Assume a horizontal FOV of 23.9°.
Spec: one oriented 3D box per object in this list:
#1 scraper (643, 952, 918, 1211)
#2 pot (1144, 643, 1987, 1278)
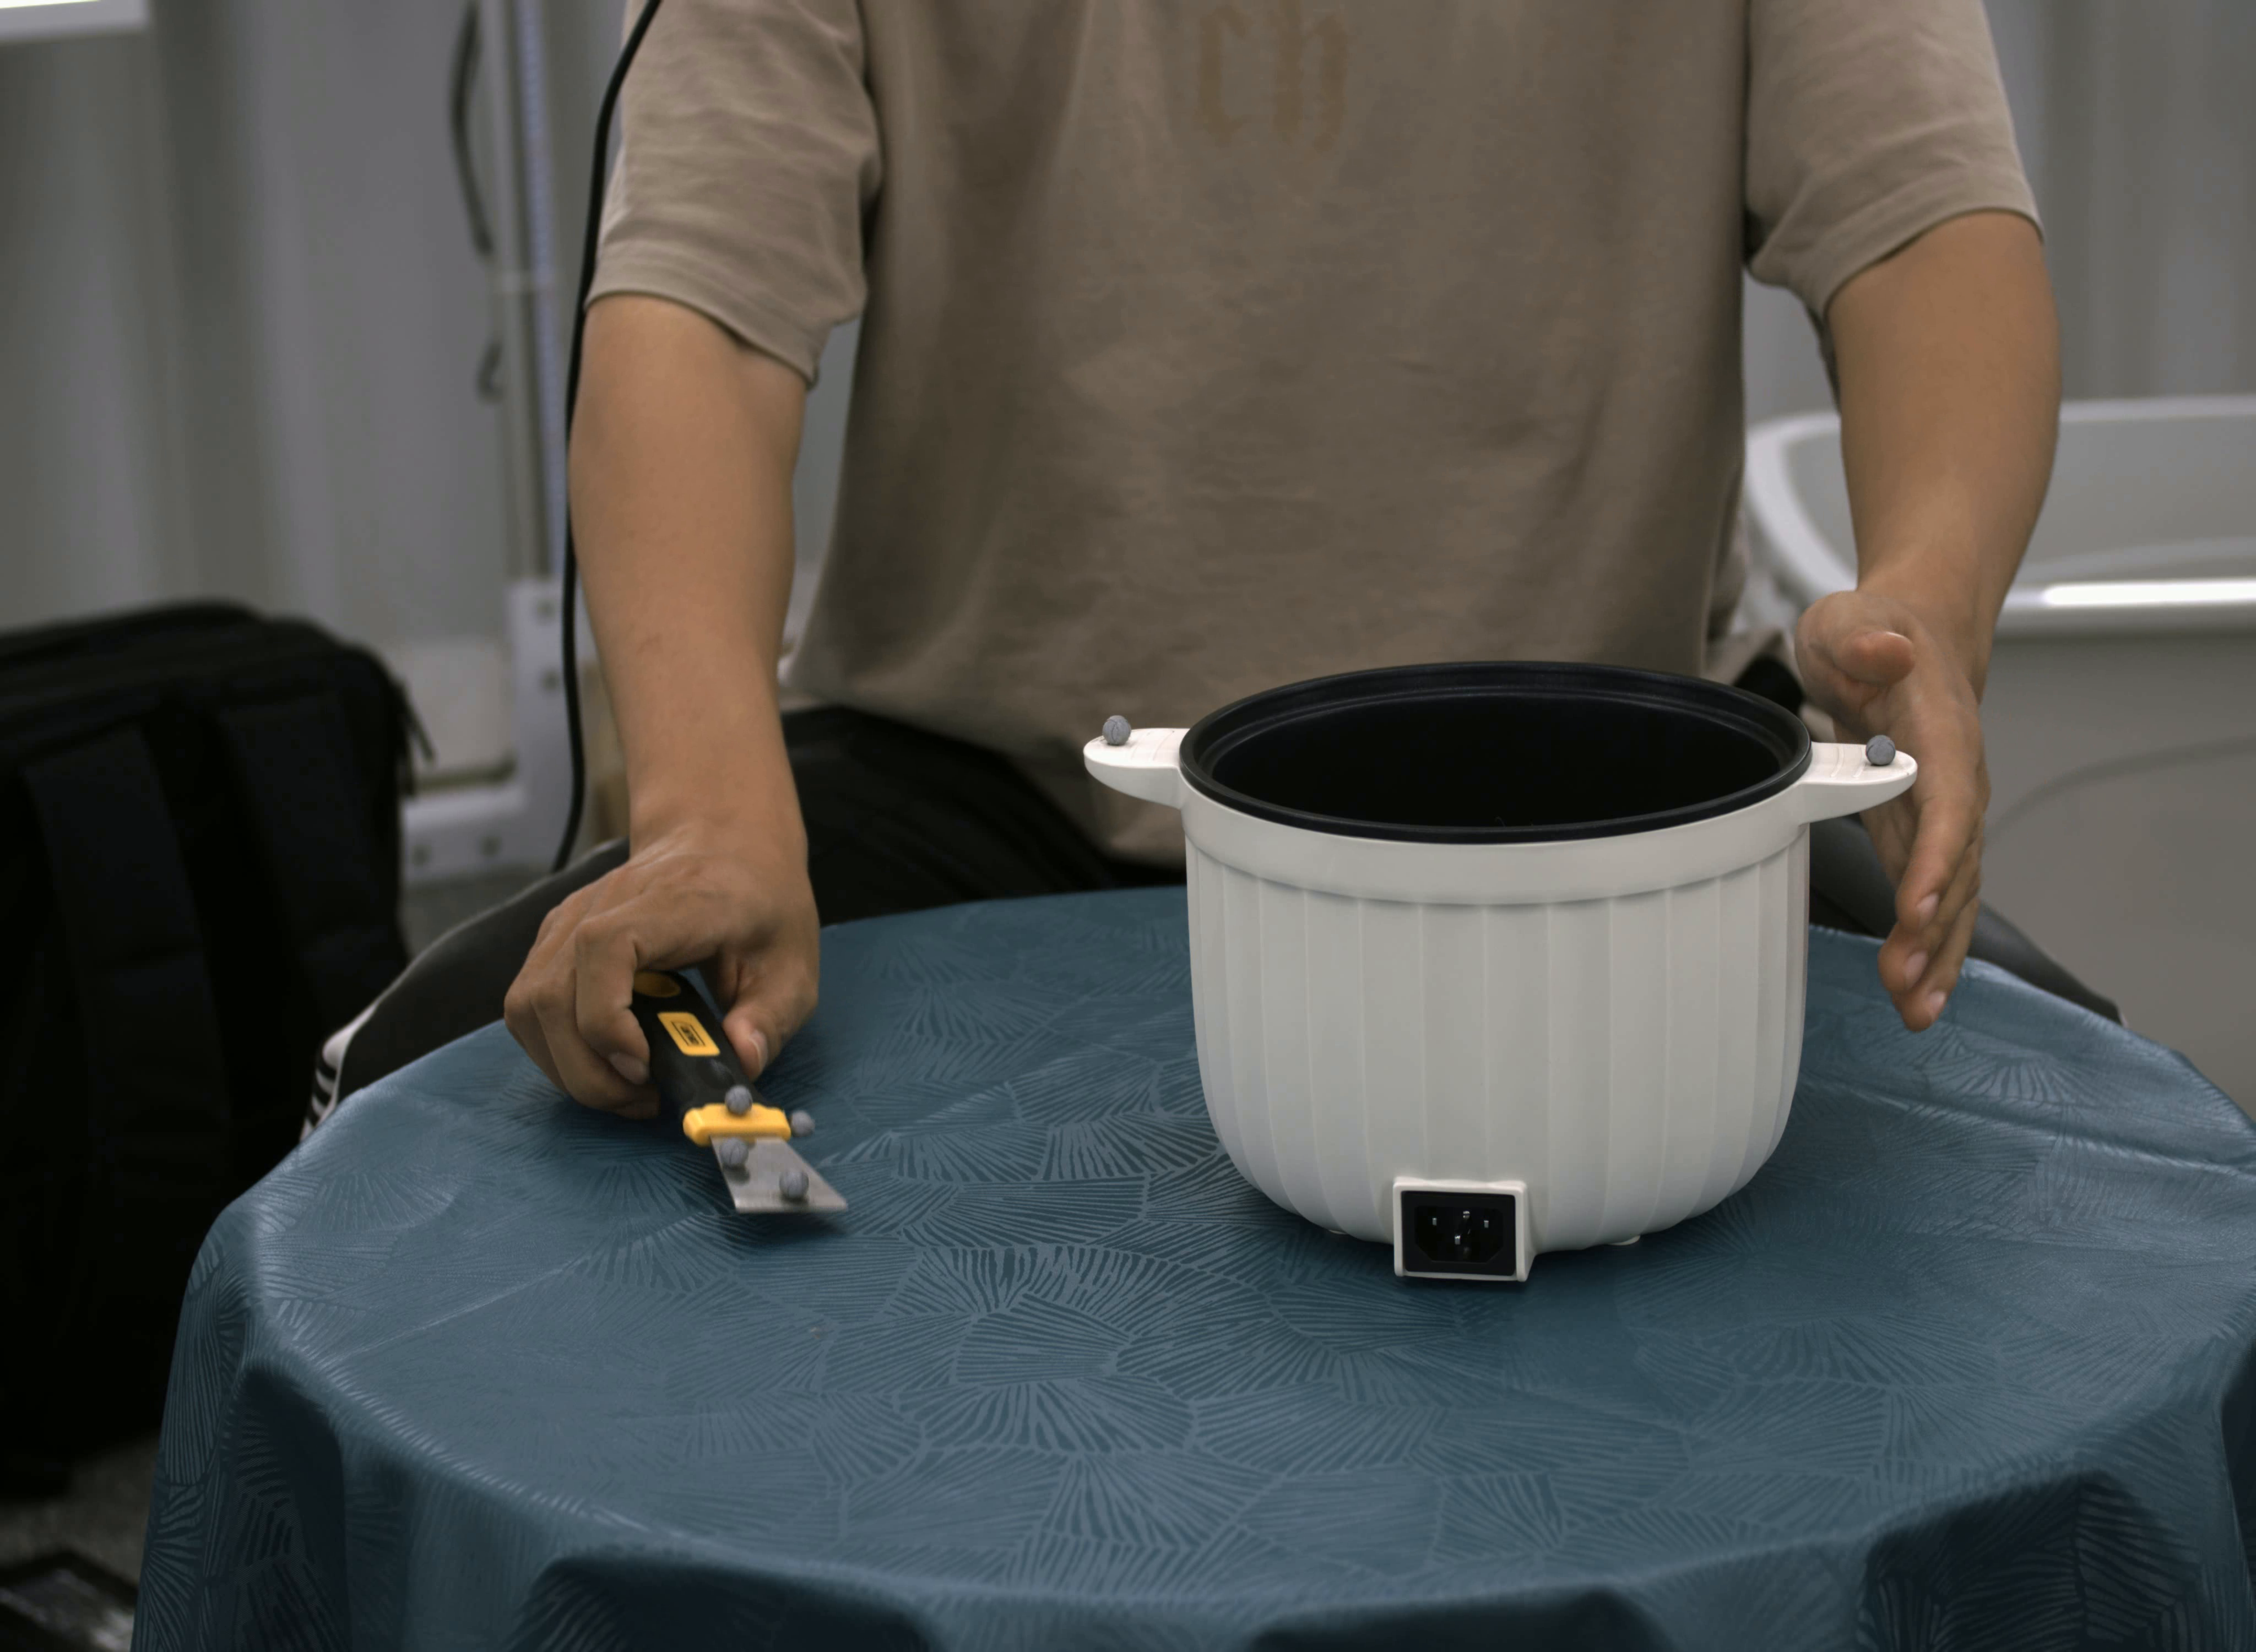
[{"bbox_3d":[-0.109,0.076,1.597,0.038,0.015,0.174,-4,24,-22],"label":"scraper"},{"bbox_3d":[0.124,0.035,1.532,0.241,0.142,0.190,3,20,12],"label":"pot"}]
